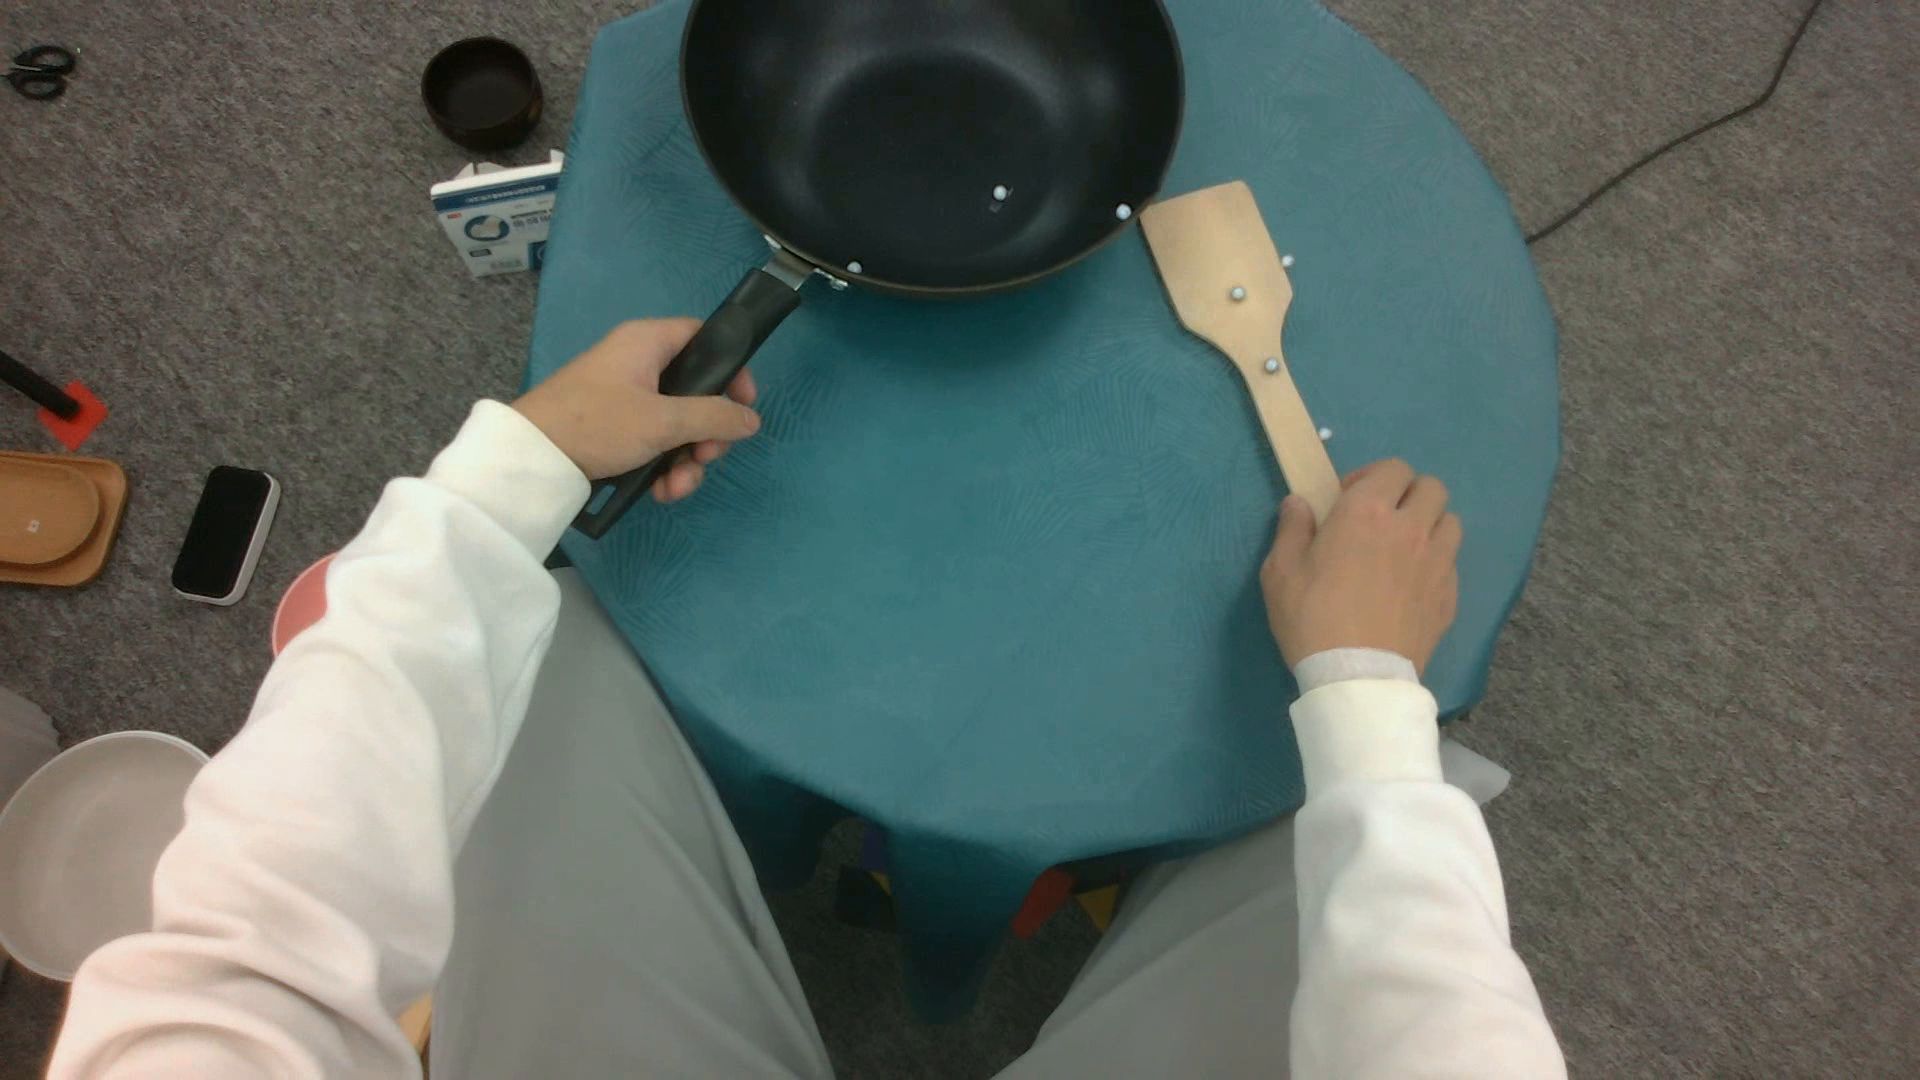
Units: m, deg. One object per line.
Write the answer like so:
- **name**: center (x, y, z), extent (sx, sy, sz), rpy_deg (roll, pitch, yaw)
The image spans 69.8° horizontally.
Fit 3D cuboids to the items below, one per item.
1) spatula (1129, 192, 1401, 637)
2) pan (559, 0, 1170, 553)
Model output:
- **spatula**: center (0.183, -0.078, 0.798), extent (0.072, 0.010, 0.293), rpy_deg (-19, 69, -4)
- **pan**: center (-0.068, -0.171, 0.792), extent (0.288, 0.086, 0.464), rpy_deg (29, 73, 9)
